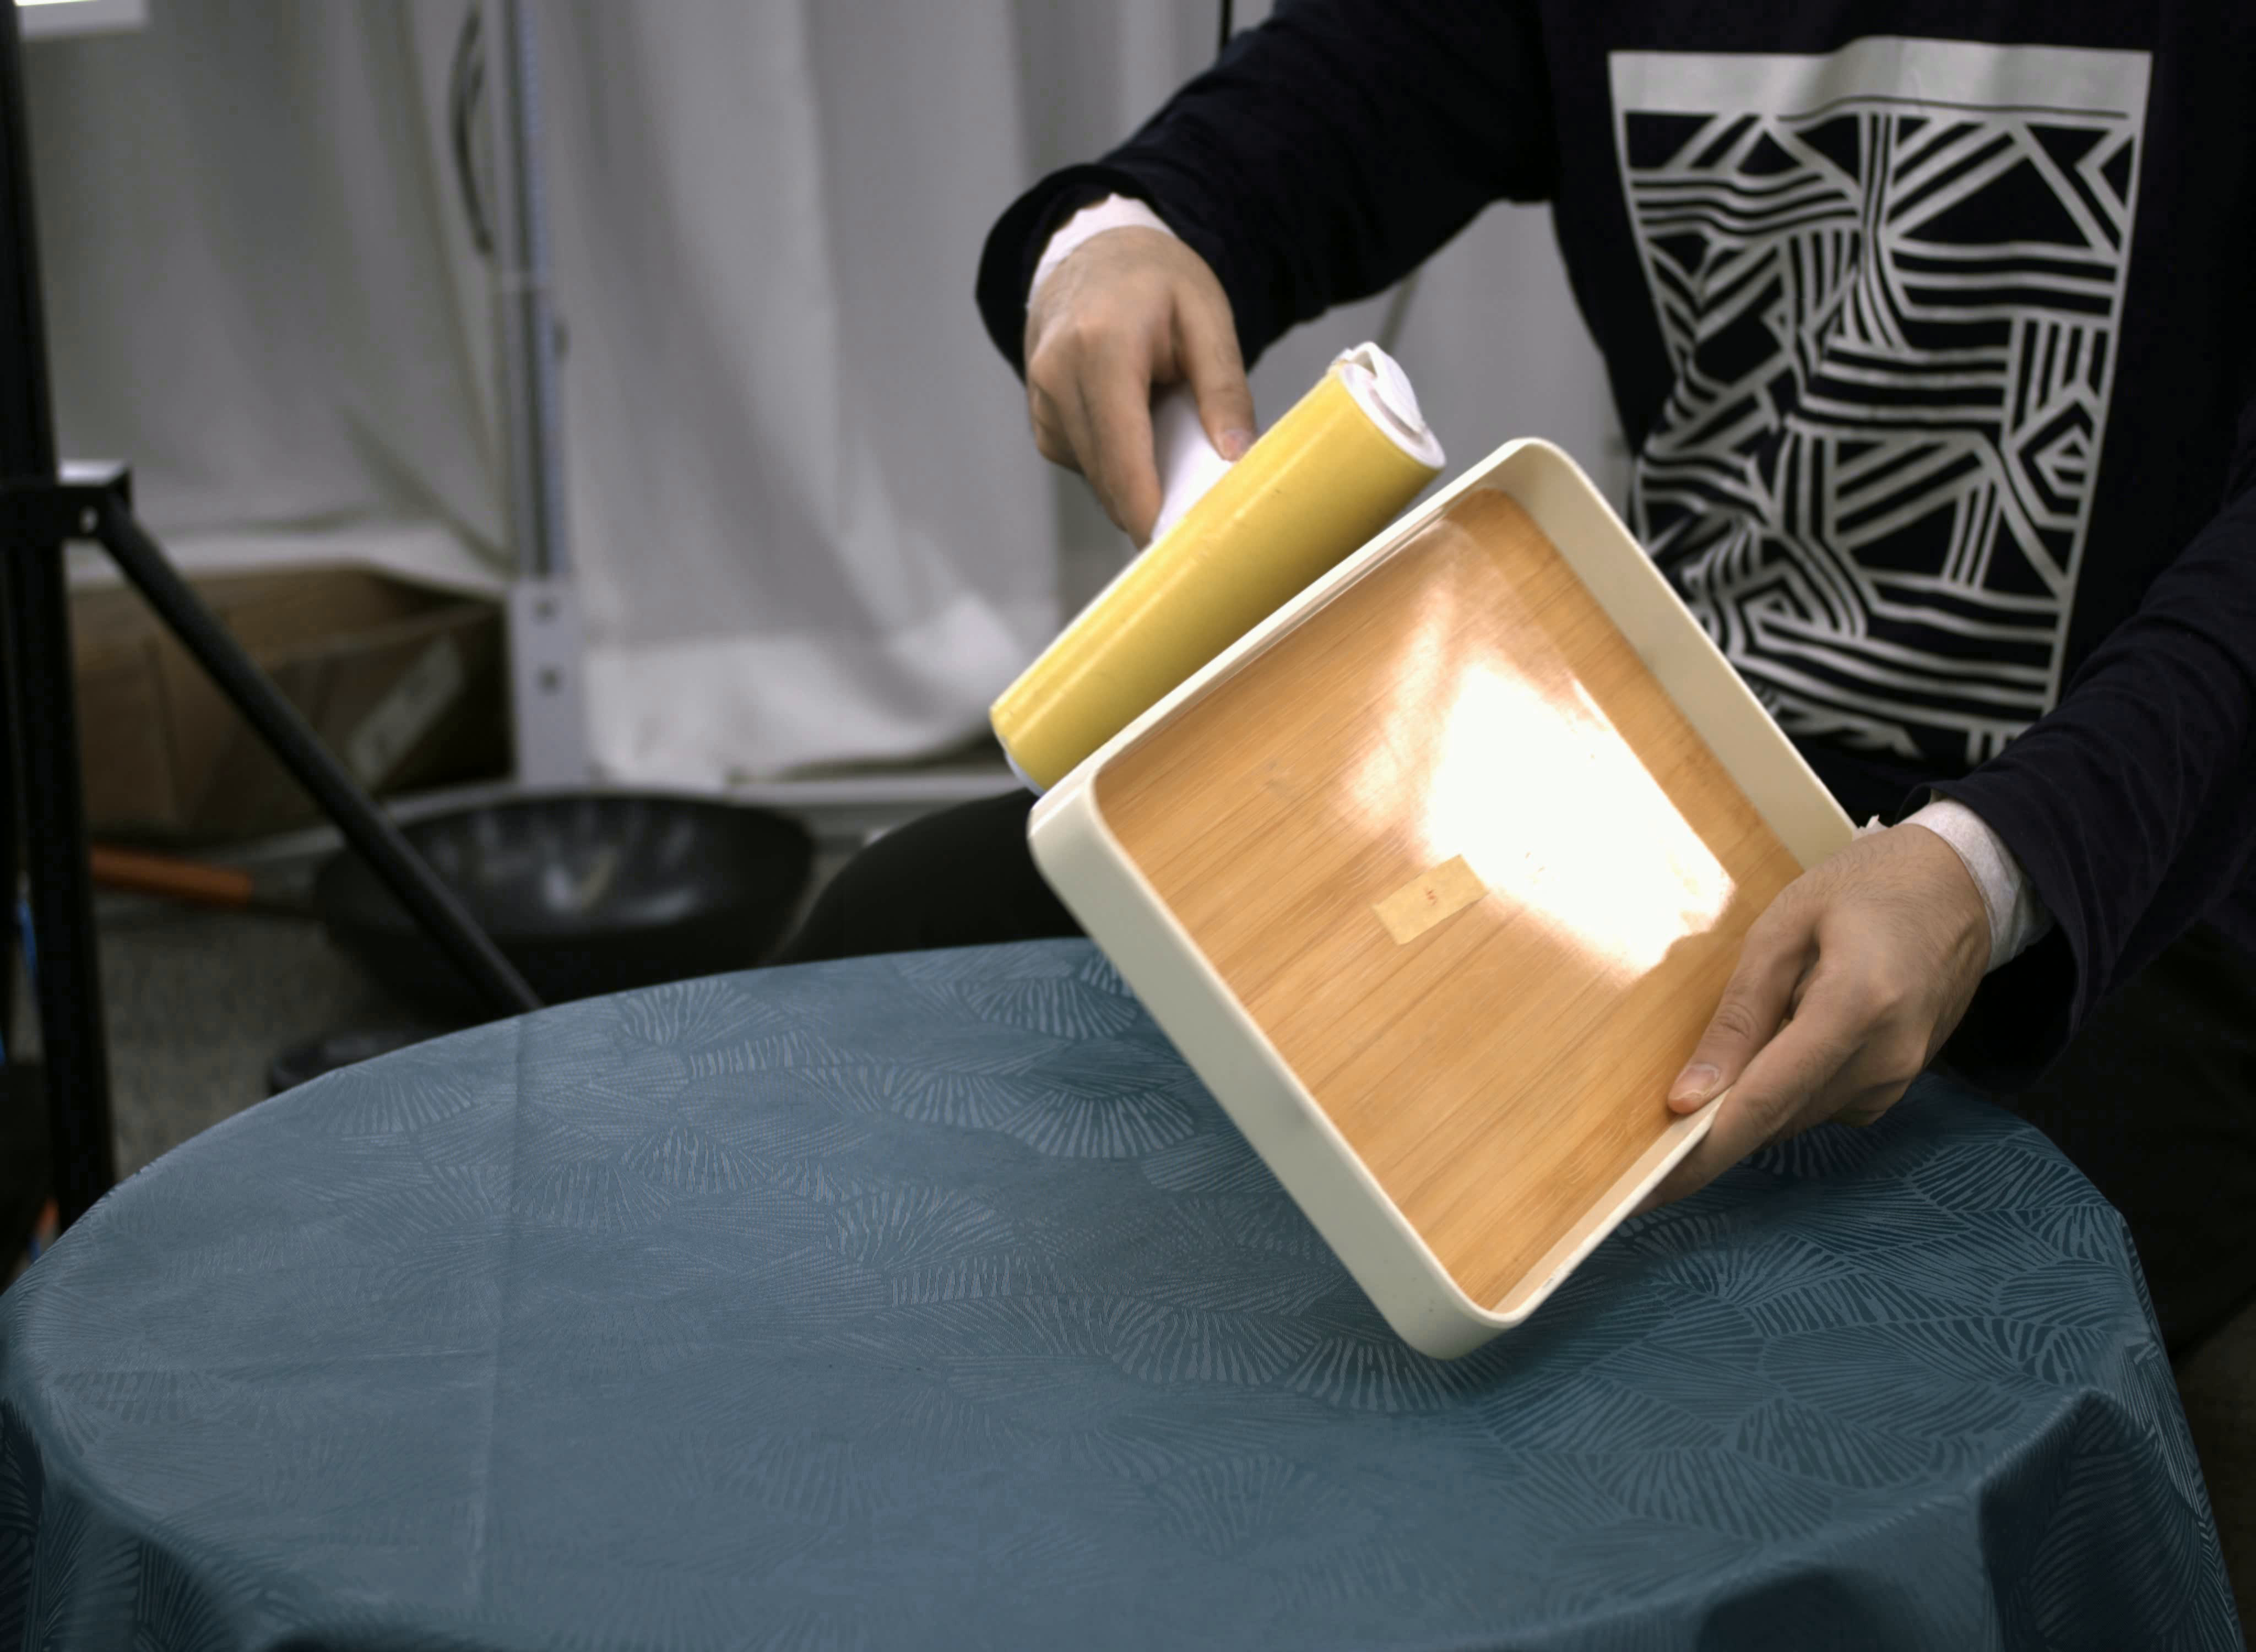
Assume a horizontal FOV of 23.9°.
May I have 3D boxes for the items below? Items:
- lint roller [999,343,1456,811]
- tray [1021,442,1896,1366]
[{"bbox_3d":[0.014,-0.111,1.726,0.050,0.175,0.195,33,21,-33],"label":"lint roller"},{"bbox_3d":[0.102,0.015,1.513,0.028,0.192,0.296,-40,-3,38],"label":"tray"}]
